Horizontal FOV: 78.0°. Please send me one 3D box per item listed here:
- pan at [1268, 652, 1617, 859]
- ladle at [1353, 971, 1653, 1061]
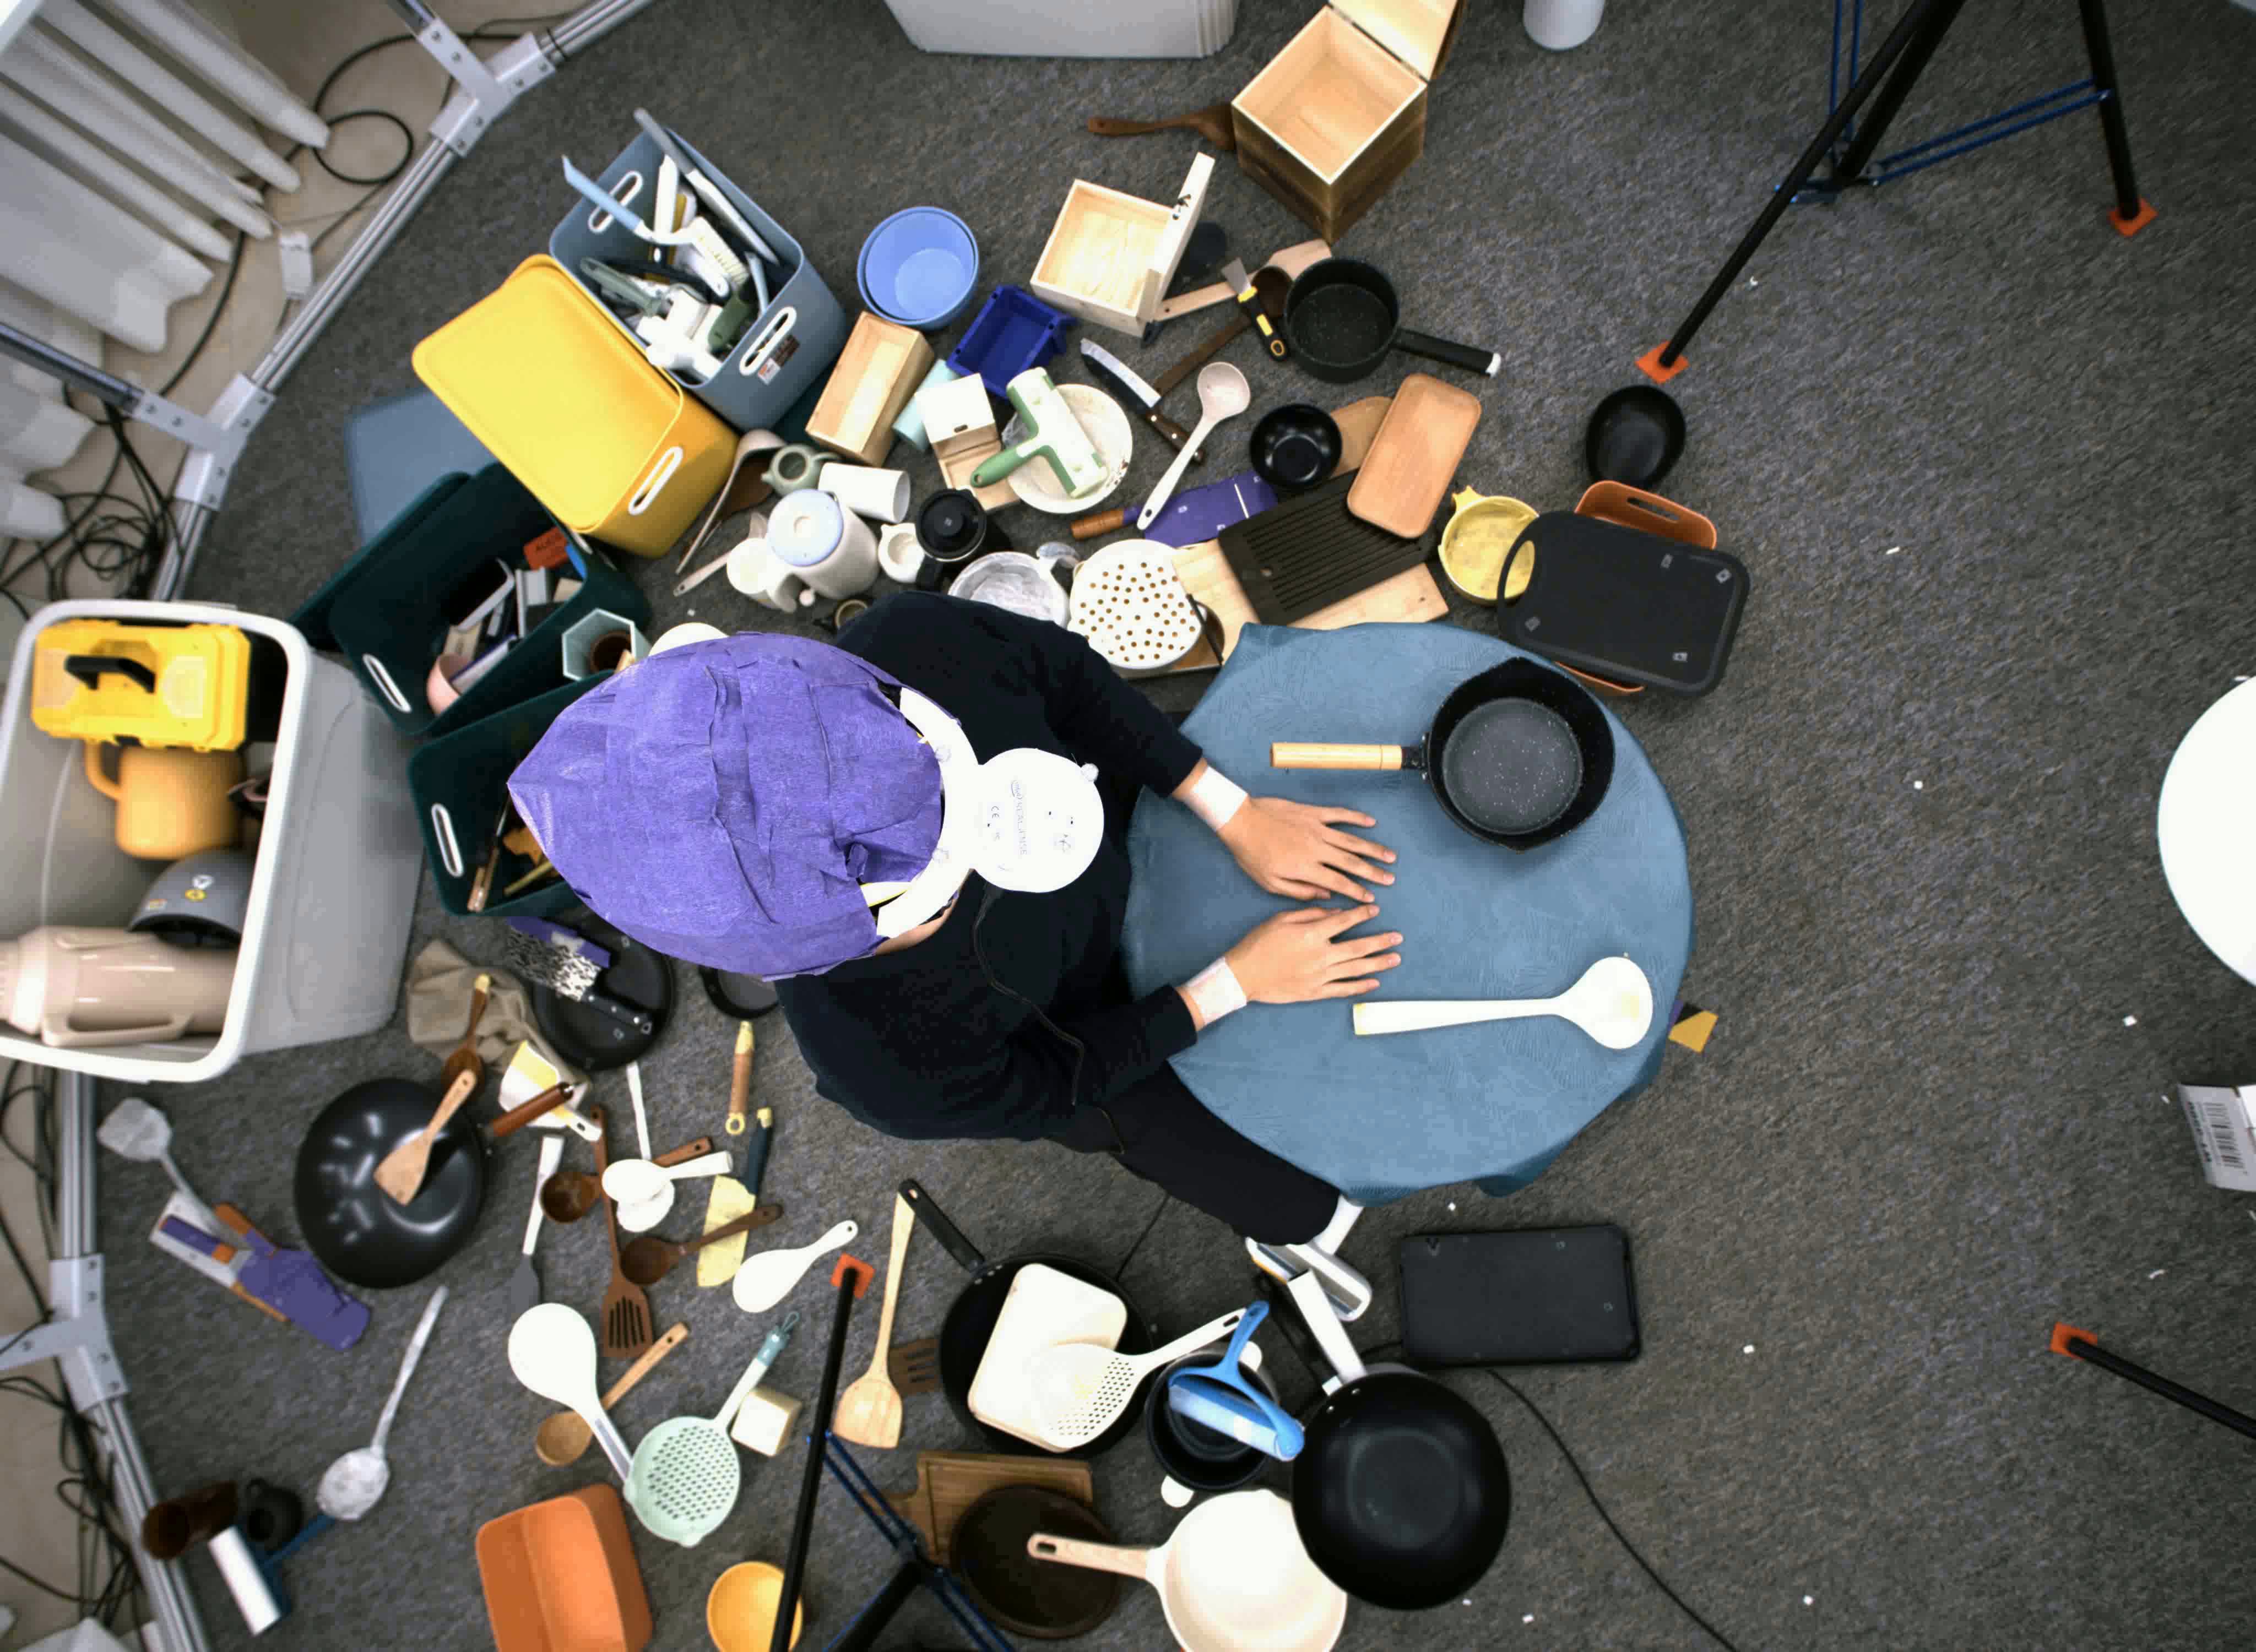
[{"bbox_3d":[0.316,-0.068,1.404,0.344,0.108,0.207,-1,87,9],"label":"pan"},{"bbox_3d":[0.376,0.192,1.401,0.294,0.069,0.090,-3,91,11],"label":"ladle"}]
